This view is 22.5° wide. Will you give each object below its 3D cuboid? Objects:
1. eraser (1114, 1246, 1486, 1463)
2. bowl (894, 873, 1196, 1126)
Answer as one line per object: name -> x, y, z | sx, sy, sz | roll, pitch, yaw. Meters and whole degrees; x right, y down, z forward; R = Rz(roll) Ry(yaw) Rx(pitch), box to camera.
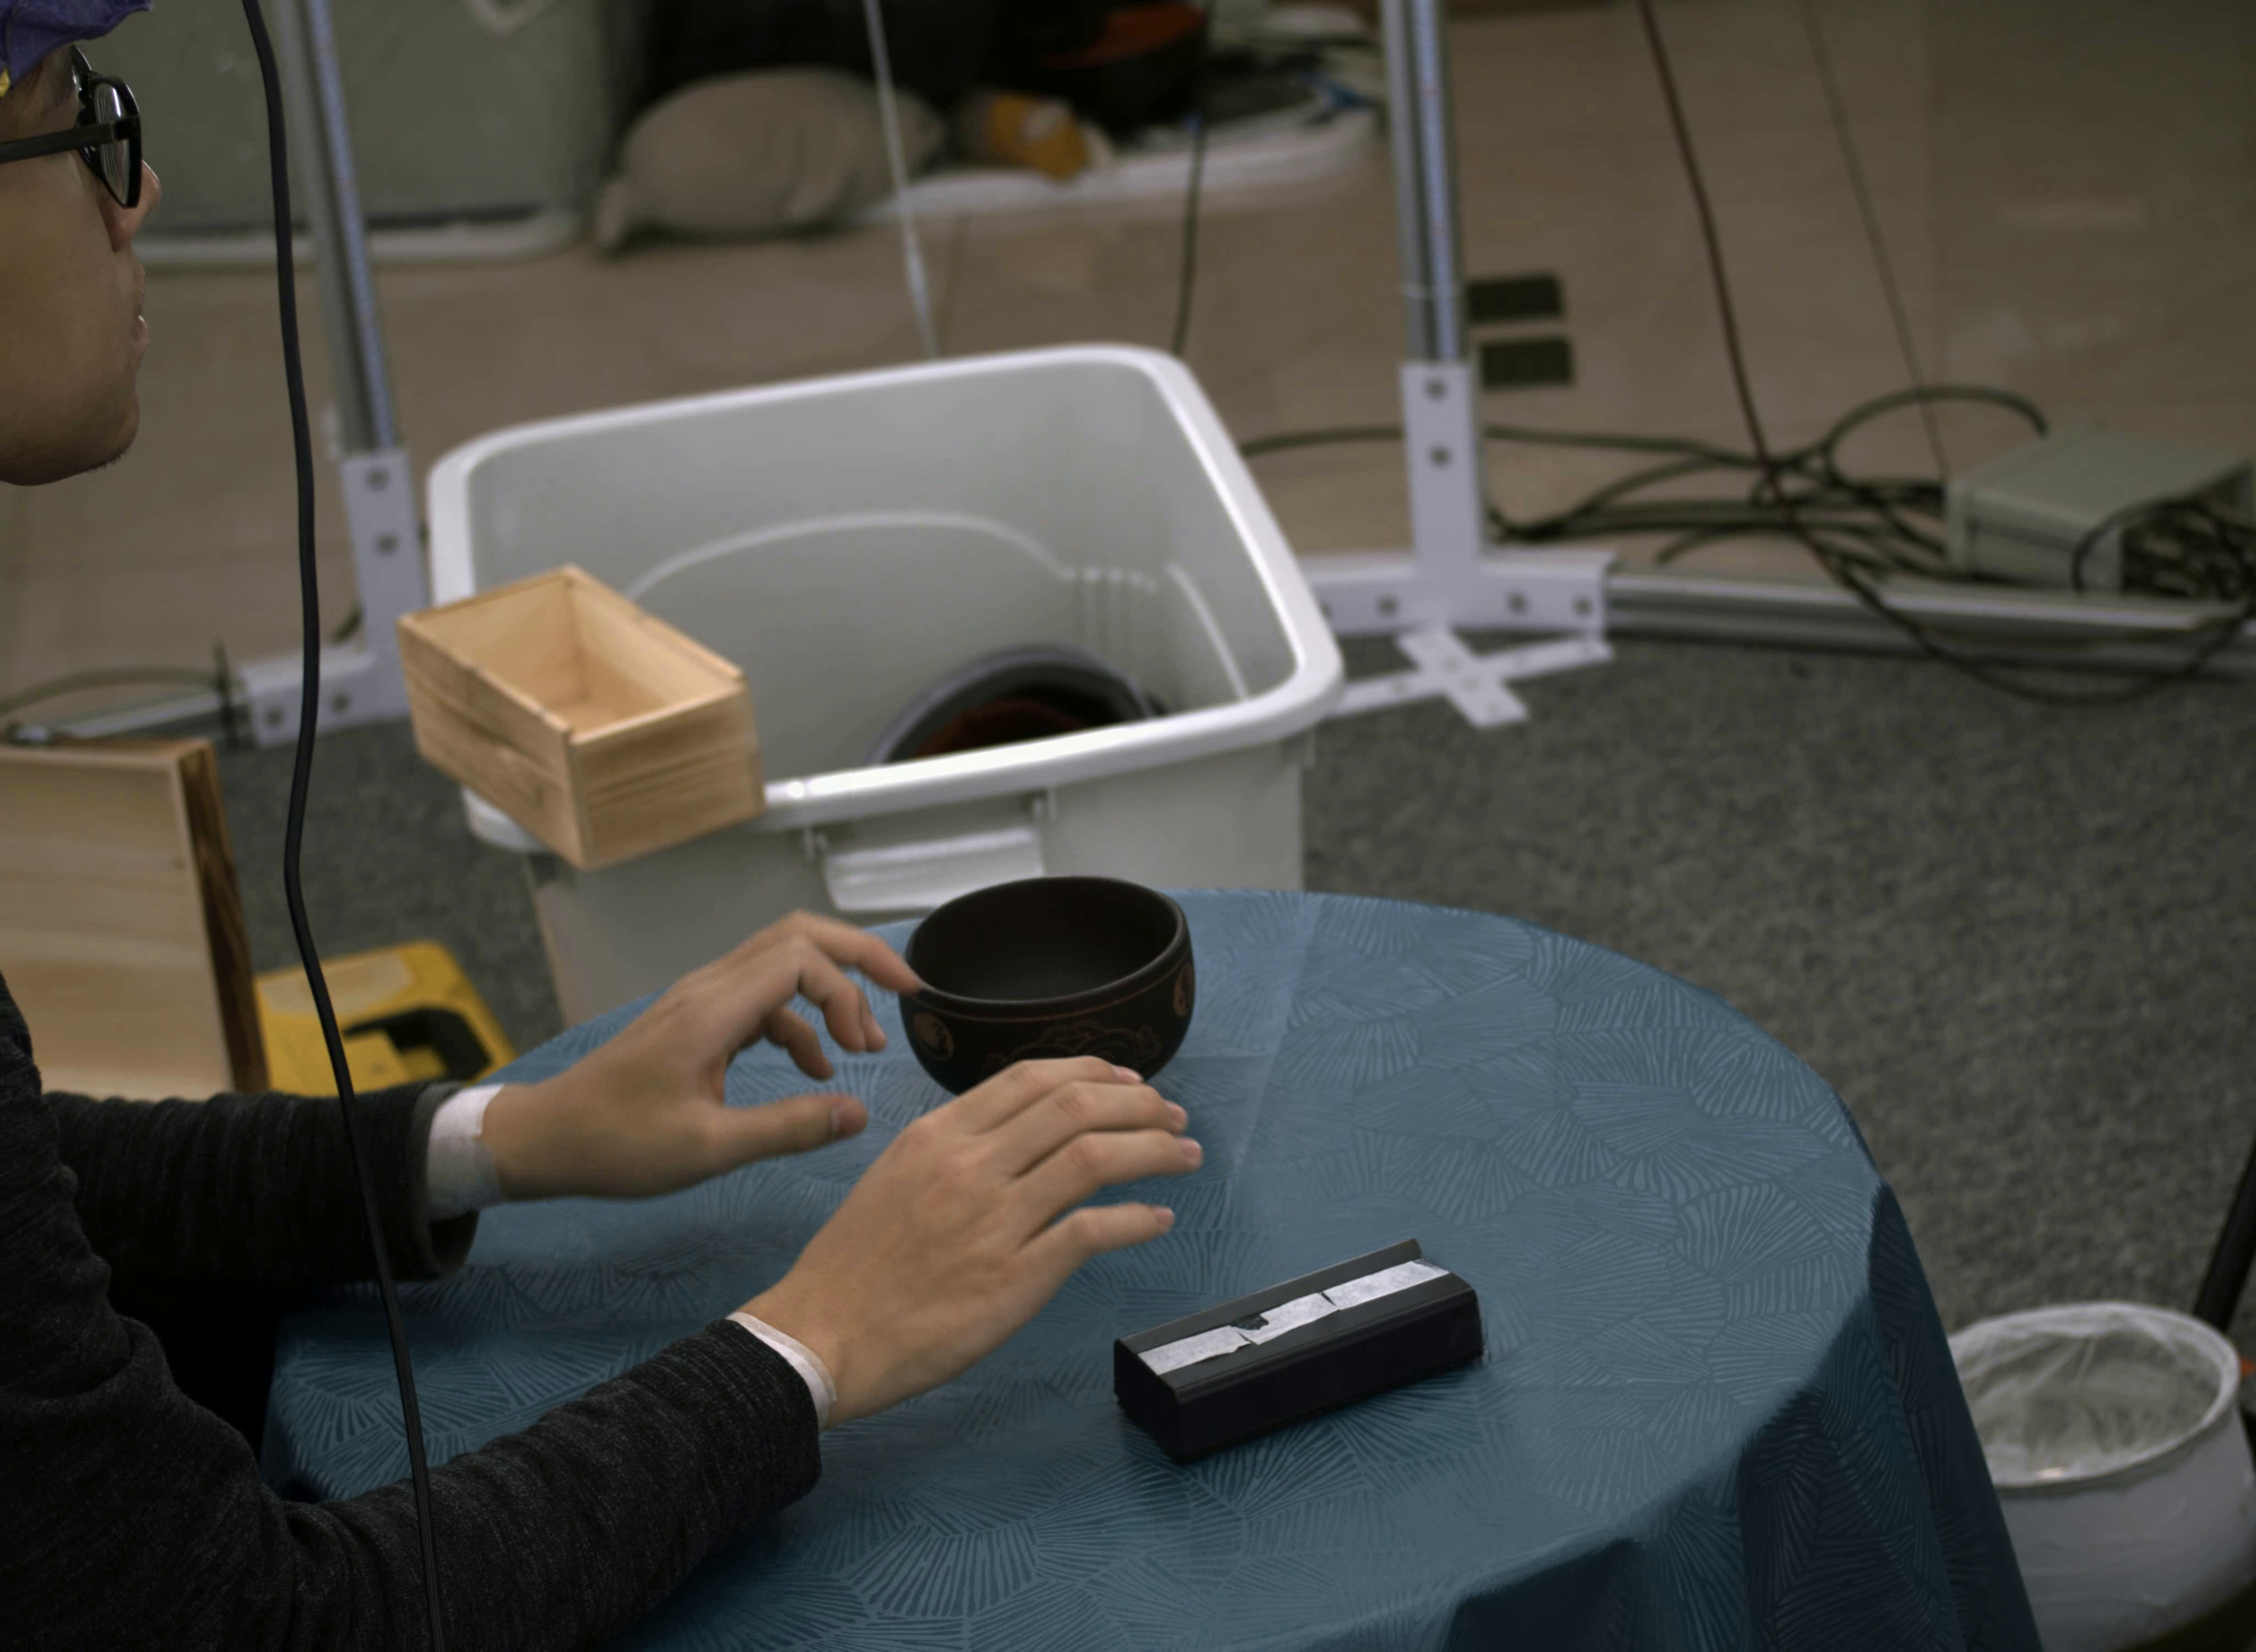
eraser -> 0.061, 0.185, 2.000 | 0.125, 0.031, 0.053 | -18, 25, -22
bowl -> -0.031, 0.074, 2.211 | 0.118, 0.071, 0.116 | -4, 27, 2
